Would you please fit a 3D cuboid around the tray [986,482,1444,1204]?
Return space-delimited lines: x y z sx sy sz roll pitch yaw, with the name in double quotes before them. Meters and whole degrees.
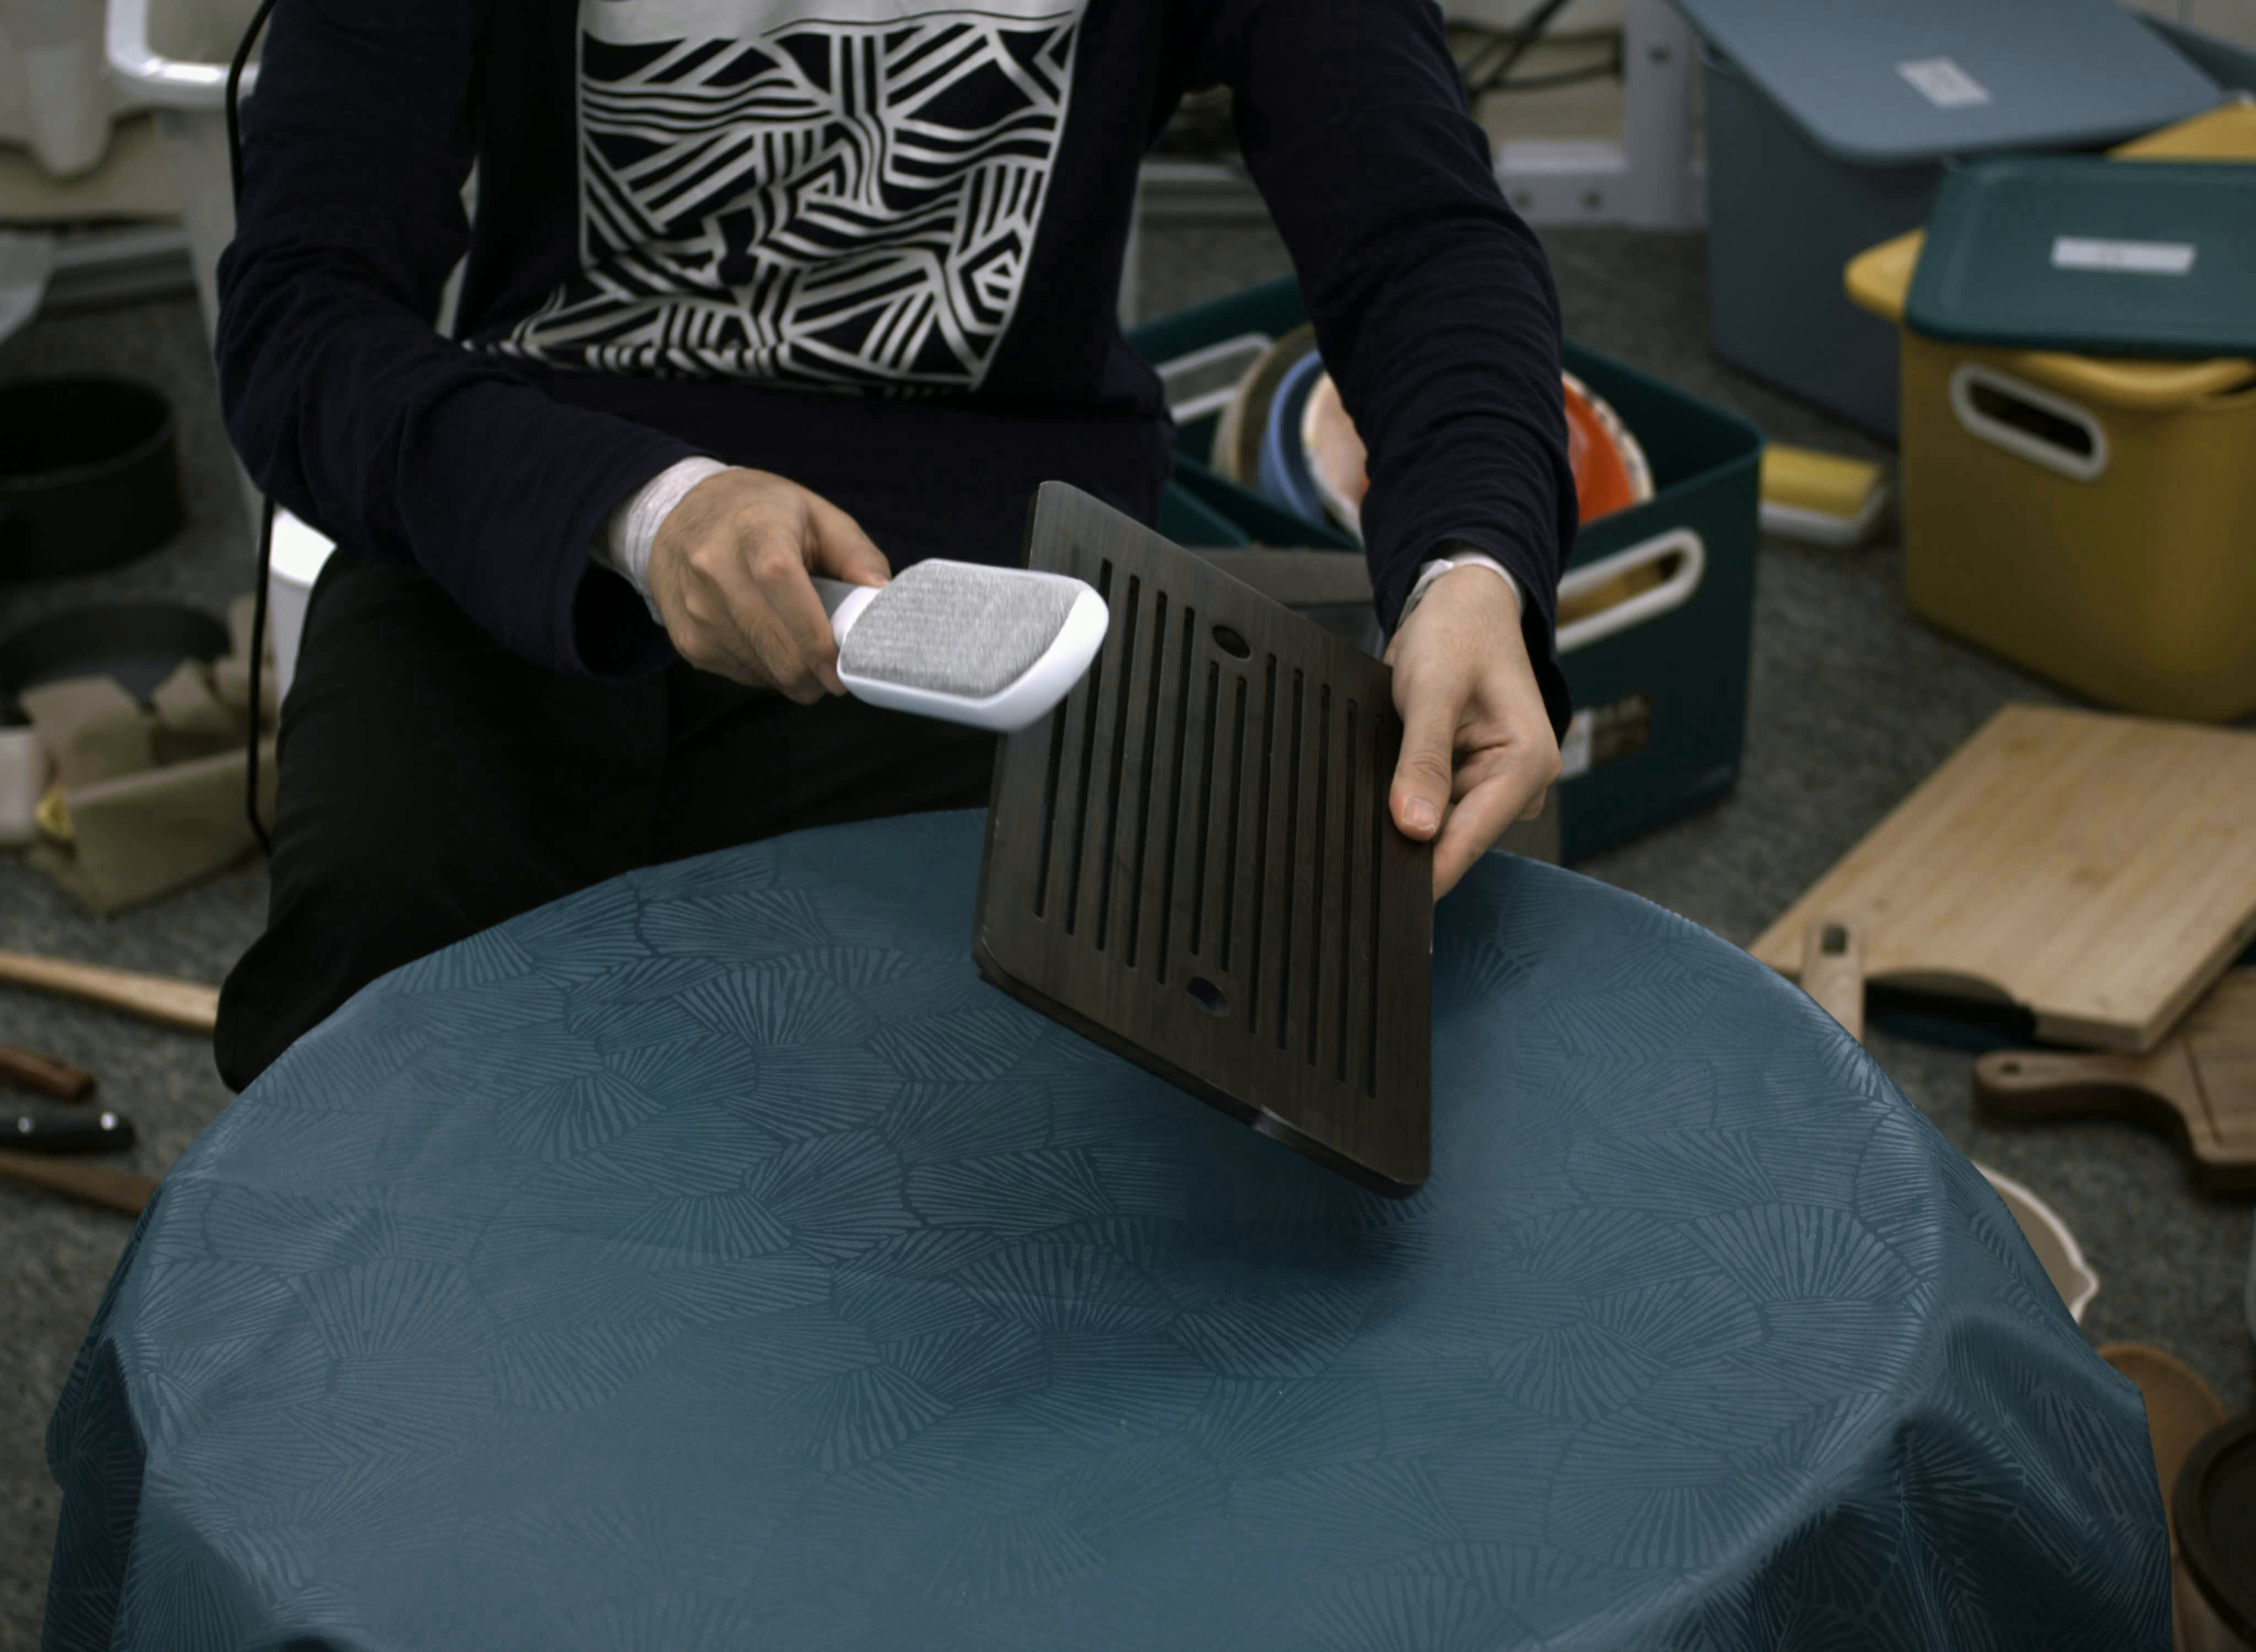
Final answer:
"tray" 0.031 0.002 1.903 0.169 0.018 0.311 28 30 -15

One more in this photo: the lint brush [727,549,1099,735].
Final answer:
"lint brush" -0.081 -0.070 1.969 0.060 0.021 0.308 -56 23 -8
